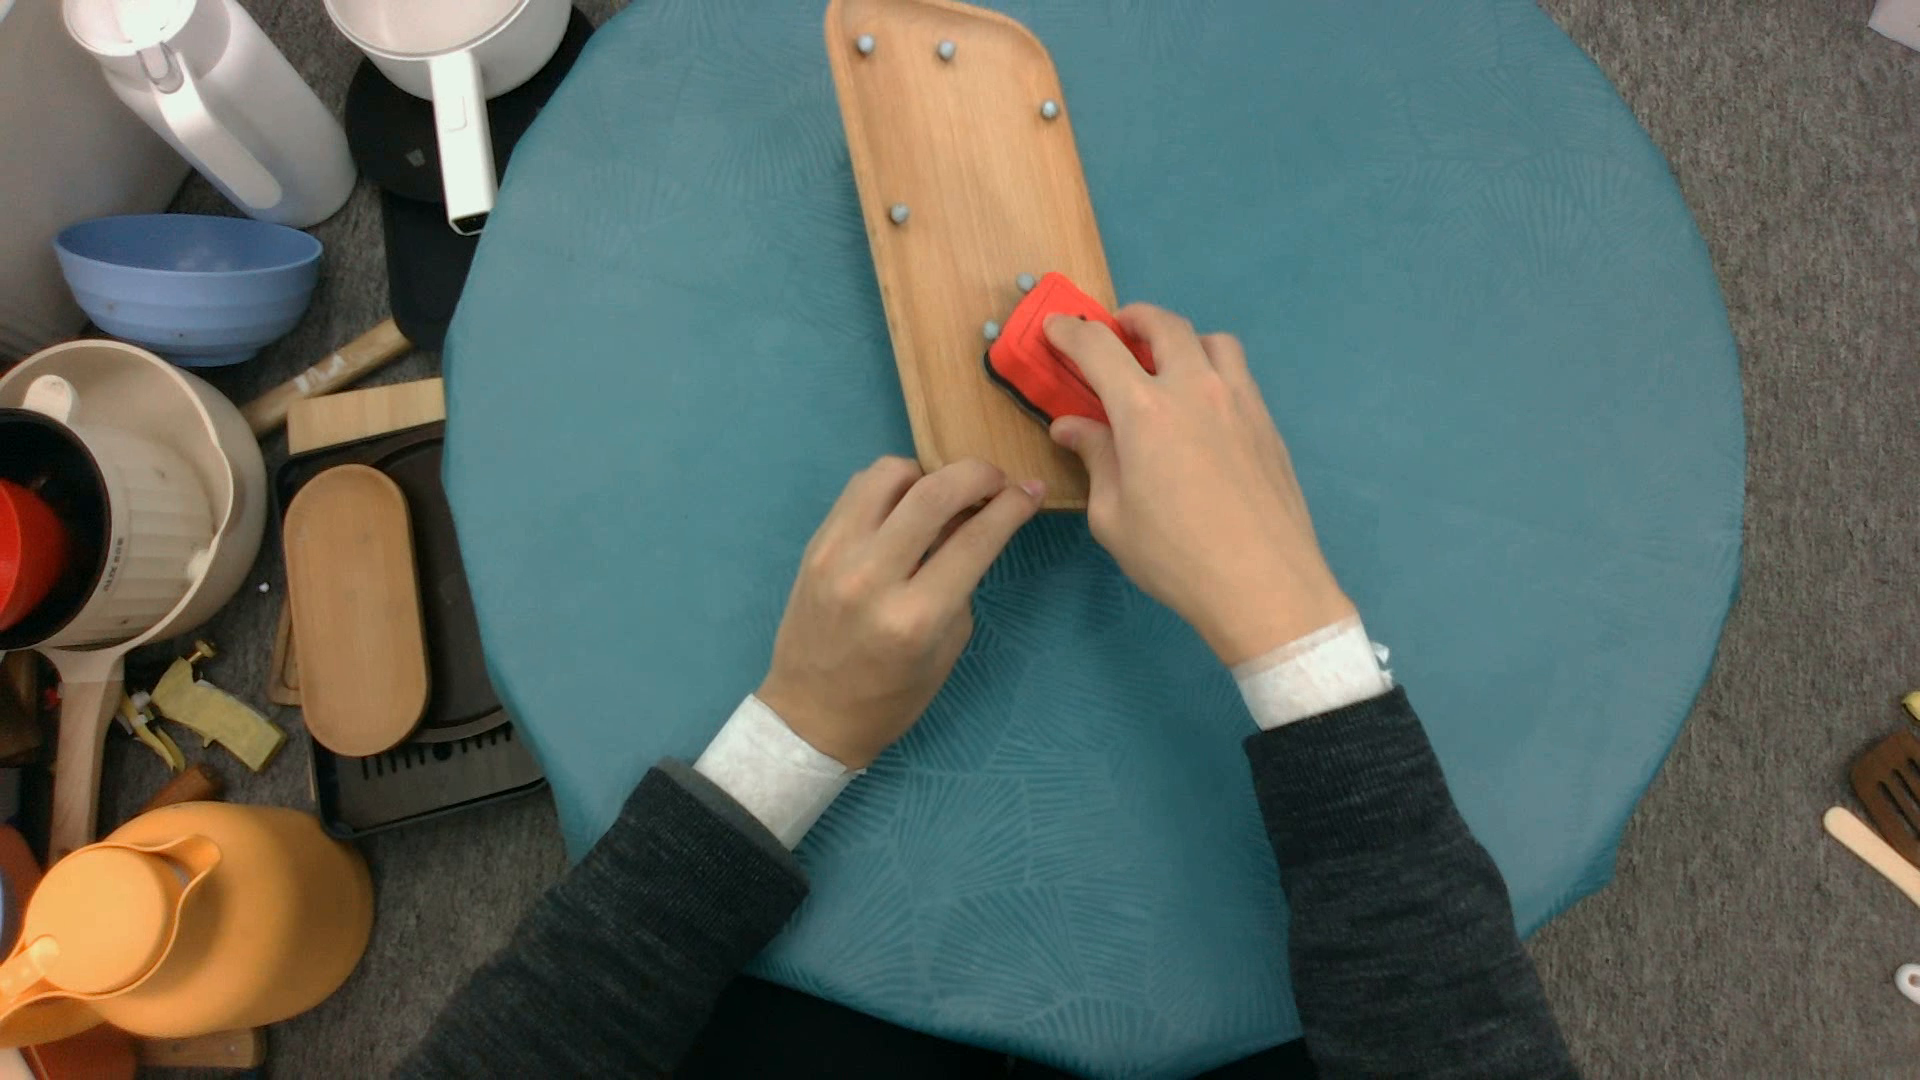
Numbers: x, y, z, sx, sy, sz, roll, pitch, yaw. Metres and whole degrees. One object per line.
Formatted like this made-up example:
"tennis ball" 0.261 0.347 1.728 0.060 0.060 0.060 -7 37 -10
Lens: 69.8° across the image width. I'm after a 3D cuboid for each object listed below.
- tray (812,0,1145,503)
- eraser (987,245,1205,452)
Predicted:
"tray" 0.008 -0.133 0.611 0.131 0.023 0.251 -2 73 -35
"eraser" 0.063 -0.084 0.613 0.108 0.023 0.059 24 58 -28
